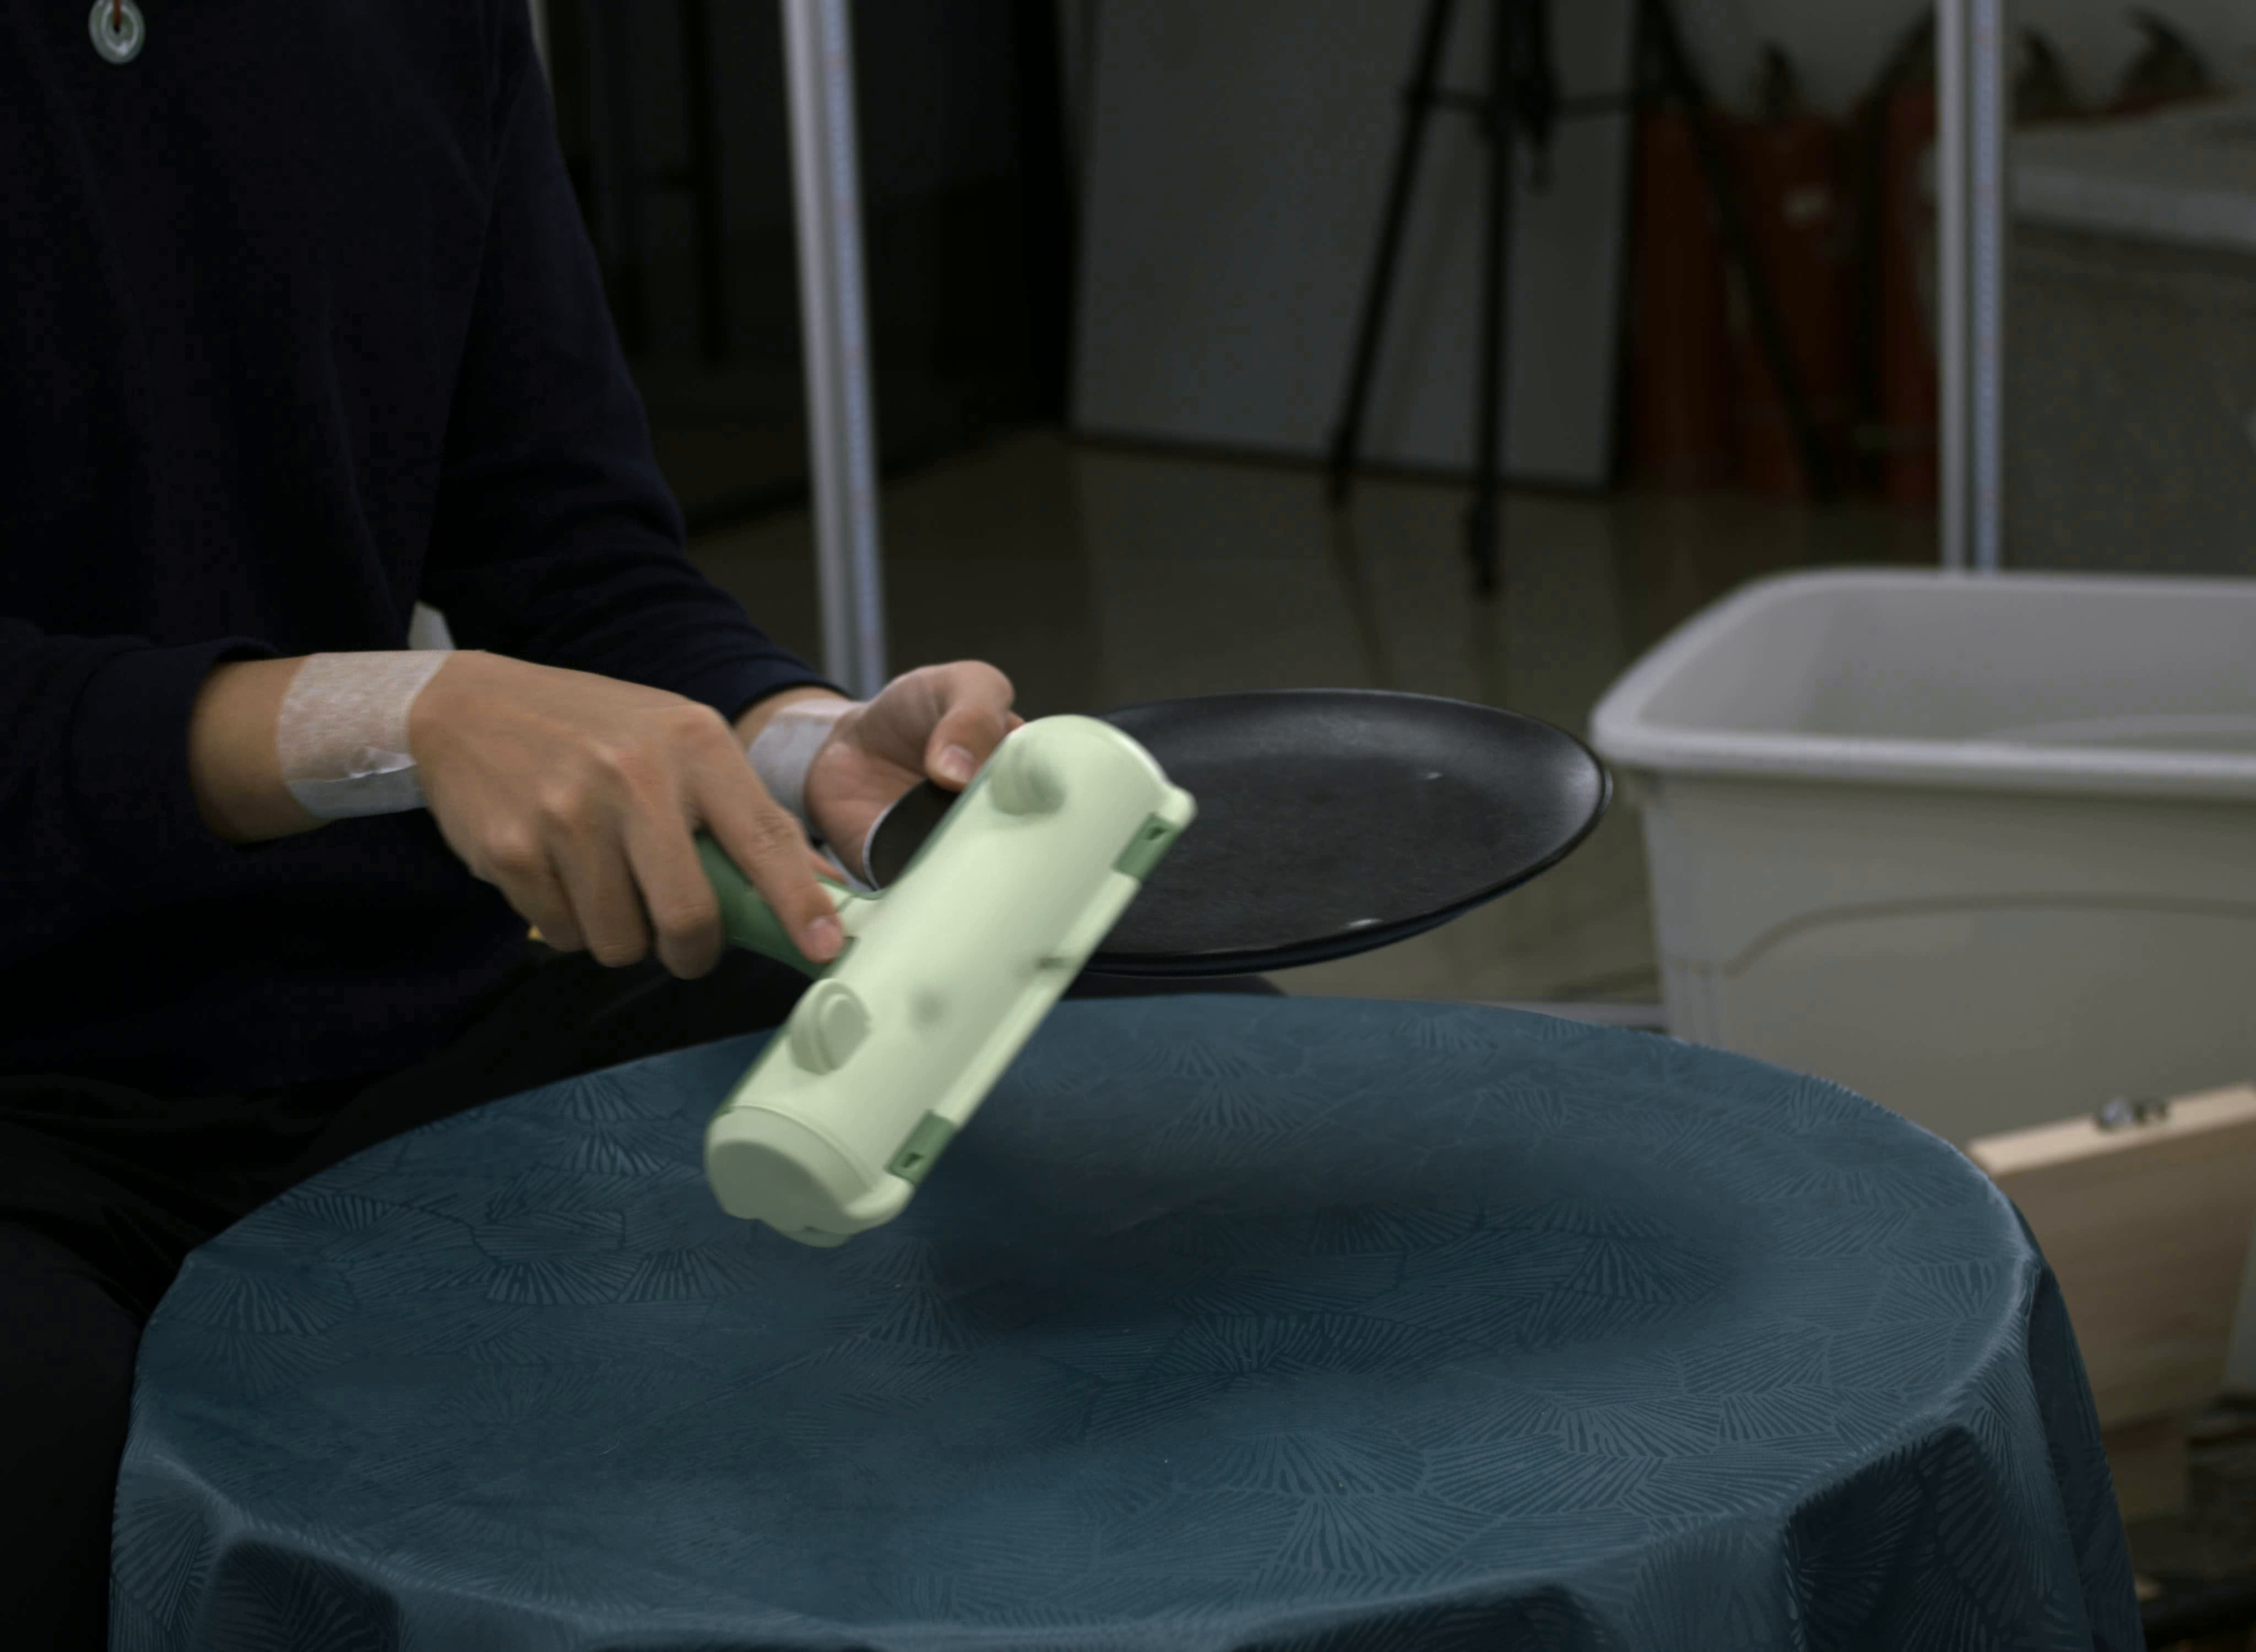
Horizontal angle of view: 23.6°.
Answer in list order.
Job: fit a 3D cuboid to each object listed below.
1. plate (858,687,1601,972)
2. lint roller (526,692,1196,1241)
[{"bbox_3d":[0.033,0.003,1.737,0.241,0.023,0.245,-7,19,2],"label":"plate"},{"bbox_3d":[-0.100,0.010,1.610,0.183,0.082,0.197,27,52,13],"label":"lint roller"}]
